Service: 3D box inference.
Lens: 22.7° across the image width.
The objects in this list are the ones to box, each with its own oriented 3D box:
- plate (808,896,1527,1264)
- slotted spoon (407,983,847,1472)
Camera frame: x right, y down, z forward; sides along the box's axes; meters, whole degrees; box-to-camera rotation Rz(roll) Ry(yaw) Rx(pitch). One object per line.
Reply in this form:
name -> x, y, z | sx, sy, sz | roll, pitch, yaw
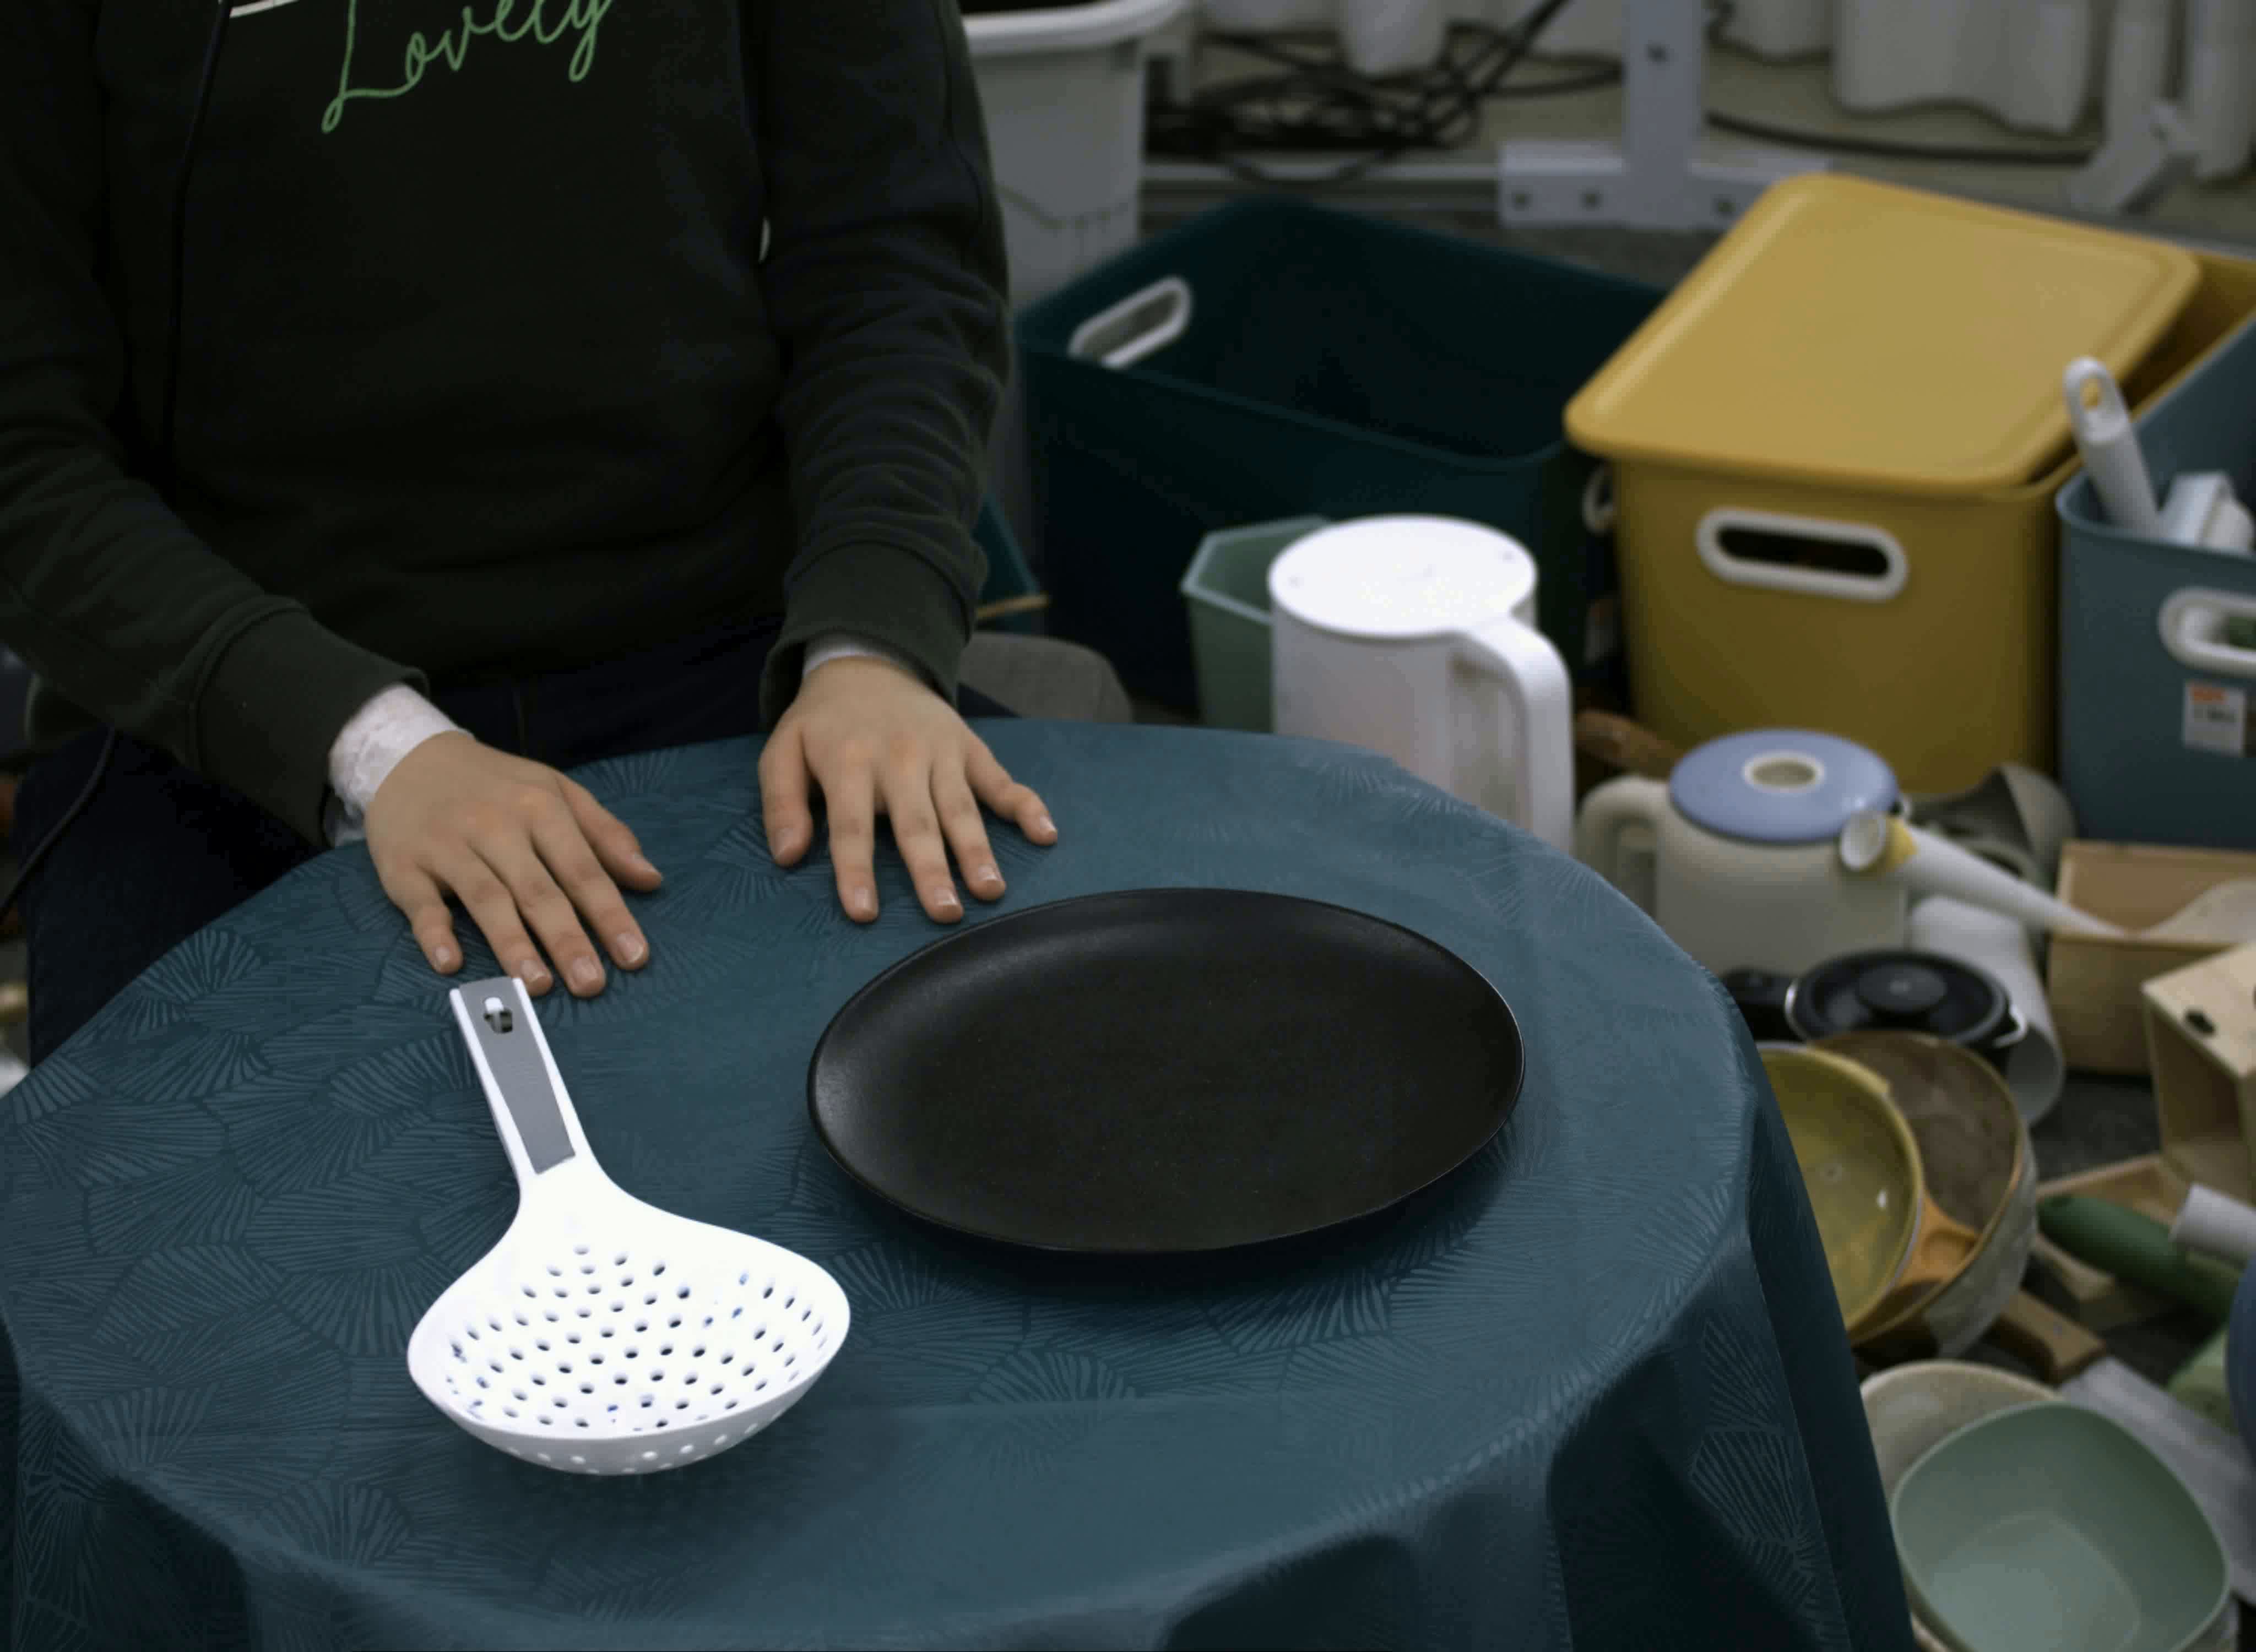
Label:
plate -> 0.013, 0.089, 1.897 | 0.243, 0.023, 0.248 | -2, 27, 2
slotted spoon -> -0.181, 0.124, 1.826 | 0.136, 0.045, 0.353 | -7, 27, -13
